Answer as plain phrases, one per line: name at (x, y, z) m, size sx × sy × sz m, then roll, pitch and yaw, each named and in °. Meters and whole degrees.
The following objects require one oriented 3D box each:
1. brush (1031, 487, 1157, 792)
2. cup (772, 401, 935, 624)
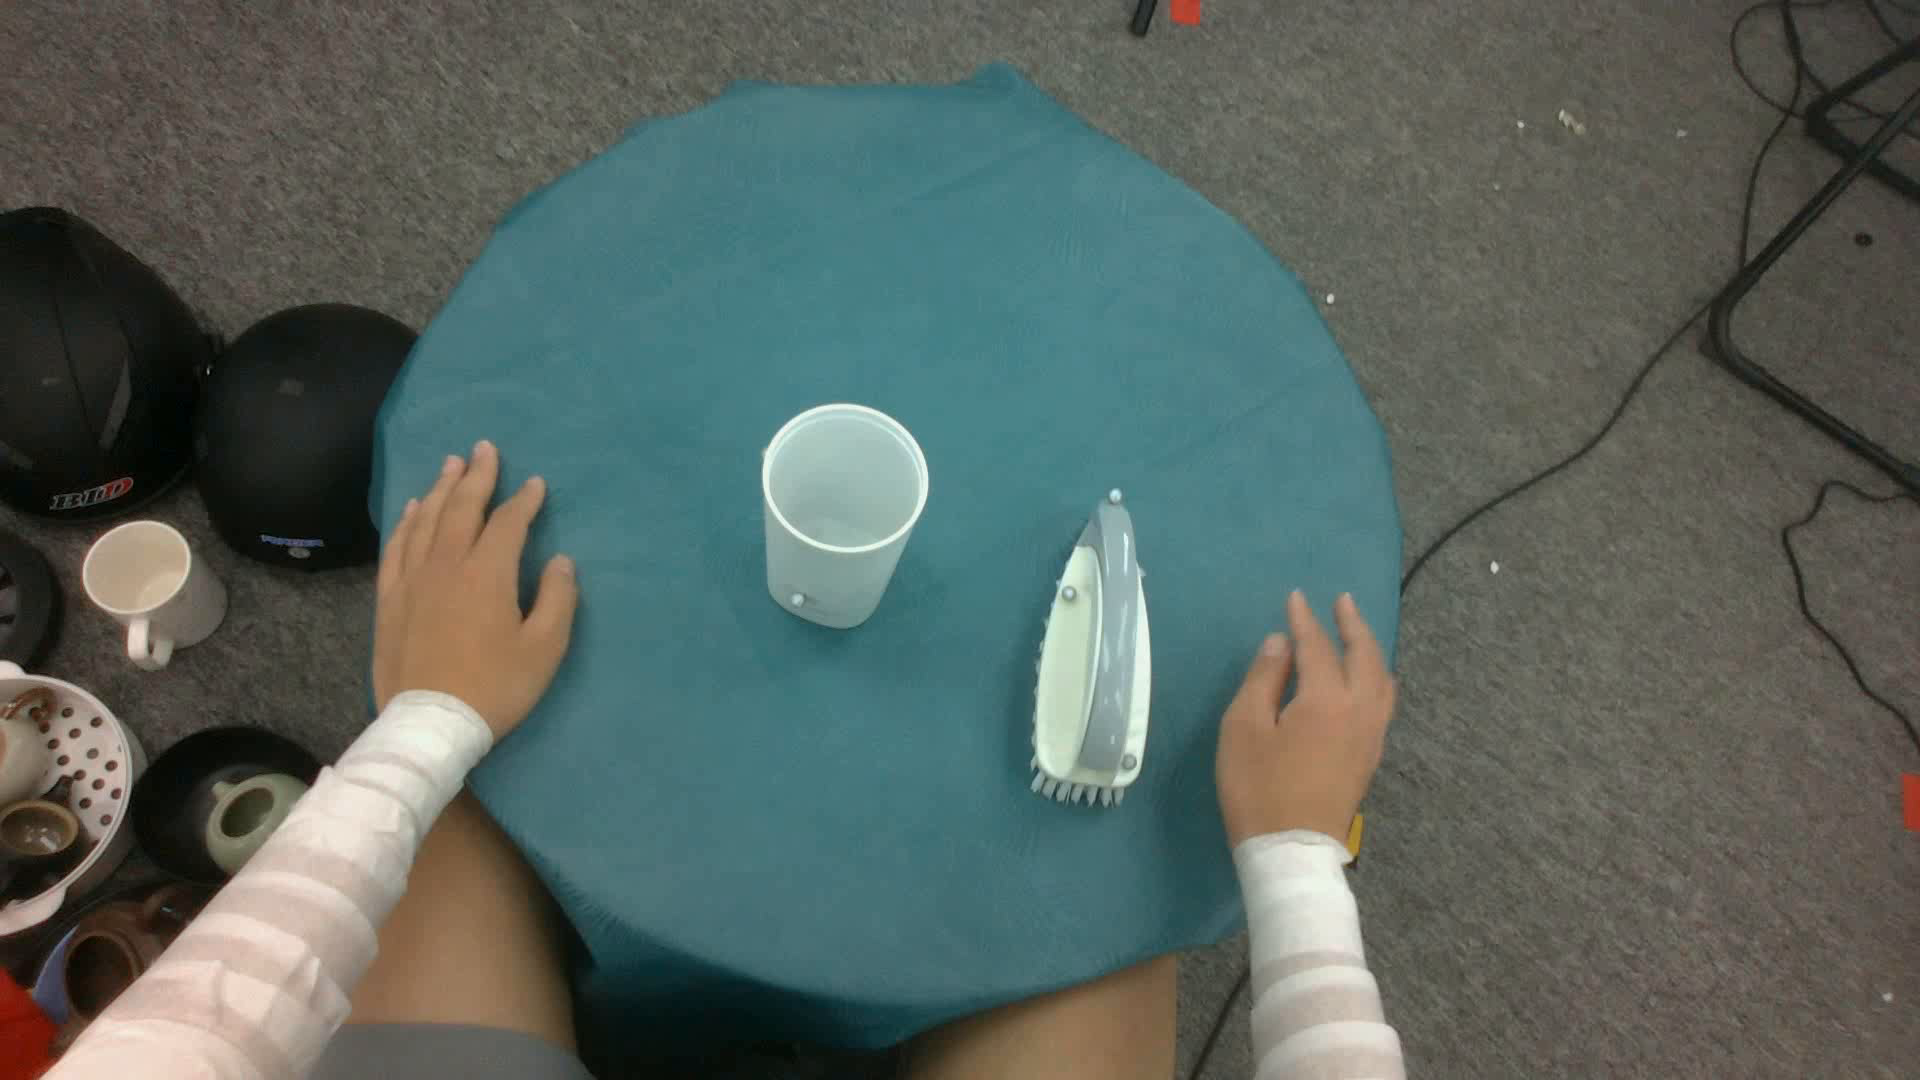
brush at (0.080, 0.042, 0.754) m, size 0.061 × 0.094 × 0.176 m, roll 11°, pitch 63°, yaw -9°
cup at (-0.061, -0.008, 0.738) m, size 0.082 × 0.125 × 0.082 m, roll 3°, pitch 66°, yaw -7°
